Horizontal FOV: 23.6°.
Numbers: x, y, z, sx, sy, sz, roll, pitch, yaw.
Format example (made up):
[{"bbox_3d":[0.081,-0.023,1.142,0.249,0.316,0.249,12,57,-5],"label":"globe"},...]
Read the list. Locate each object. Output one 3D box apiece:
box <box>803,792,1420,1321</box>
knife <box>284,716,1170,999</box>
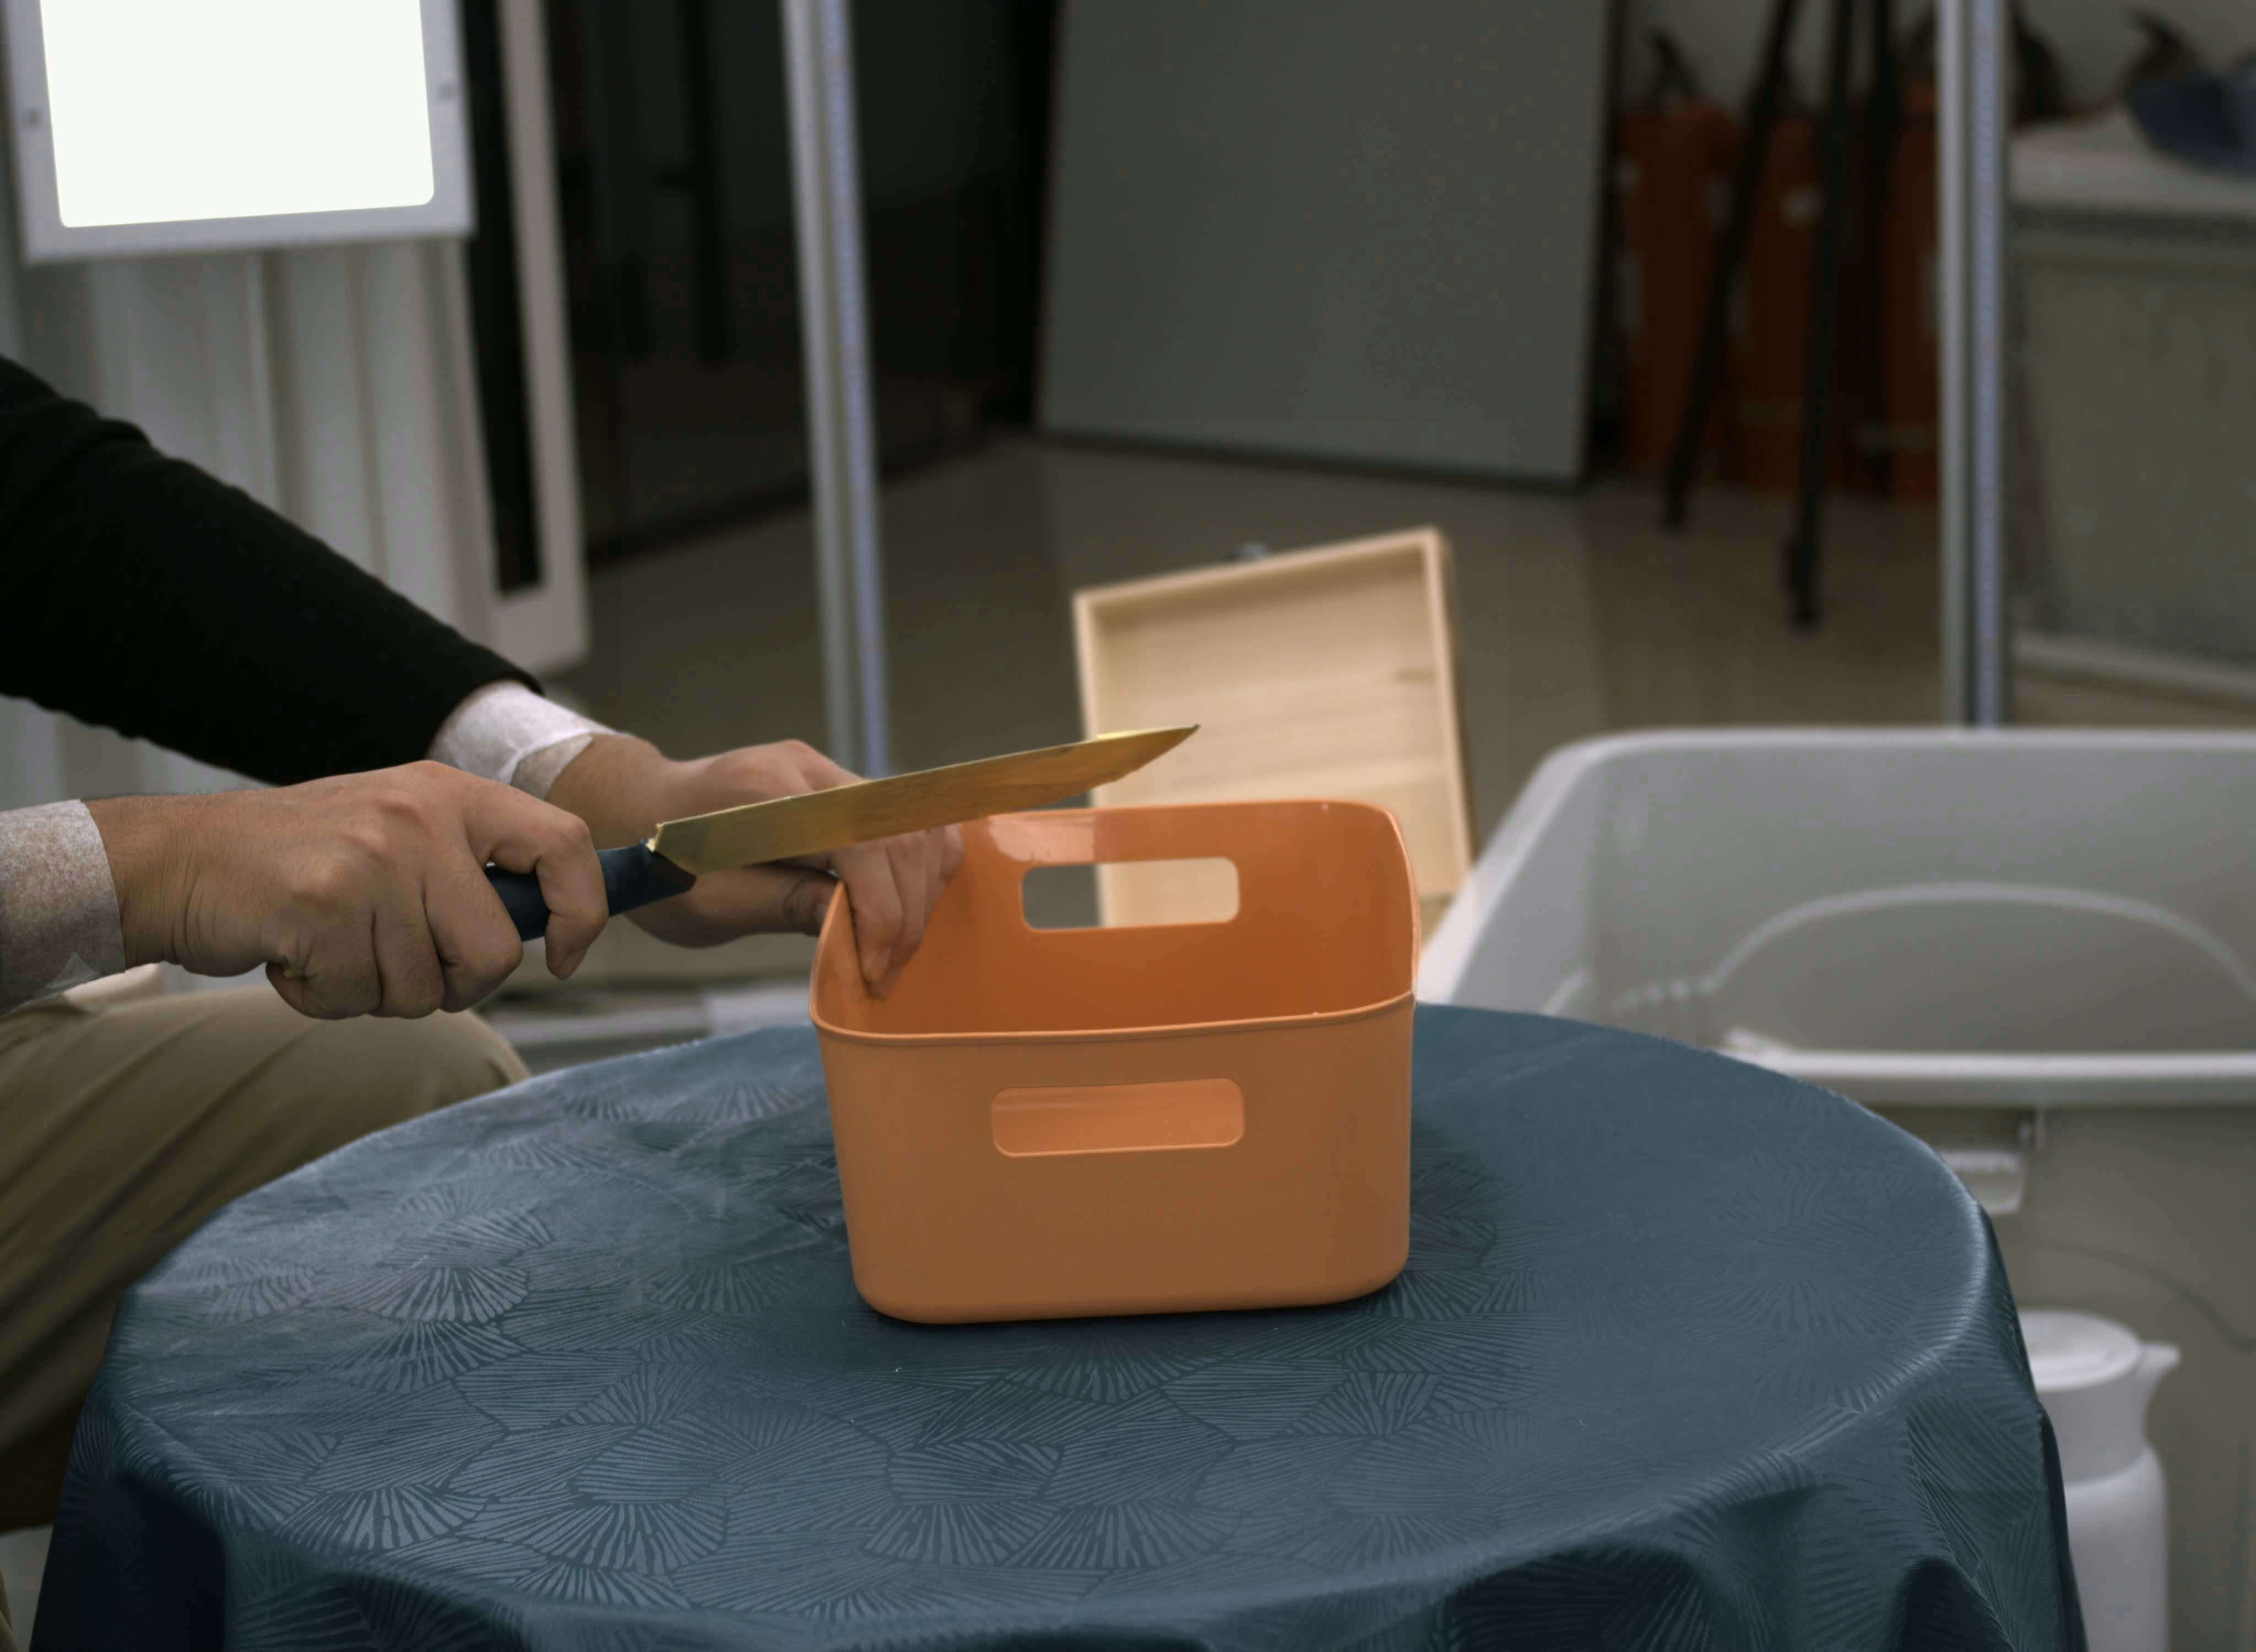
[{"bbox_3d":[-0.002,0.073,1.748,0.197,0.104,0.273,-3,14,2],"label":"box"},{"bbox_3d":[-0.123,0.006,1.685,0.285,0.027,0.081,-15,-17,-5],"label":"knife"}]
